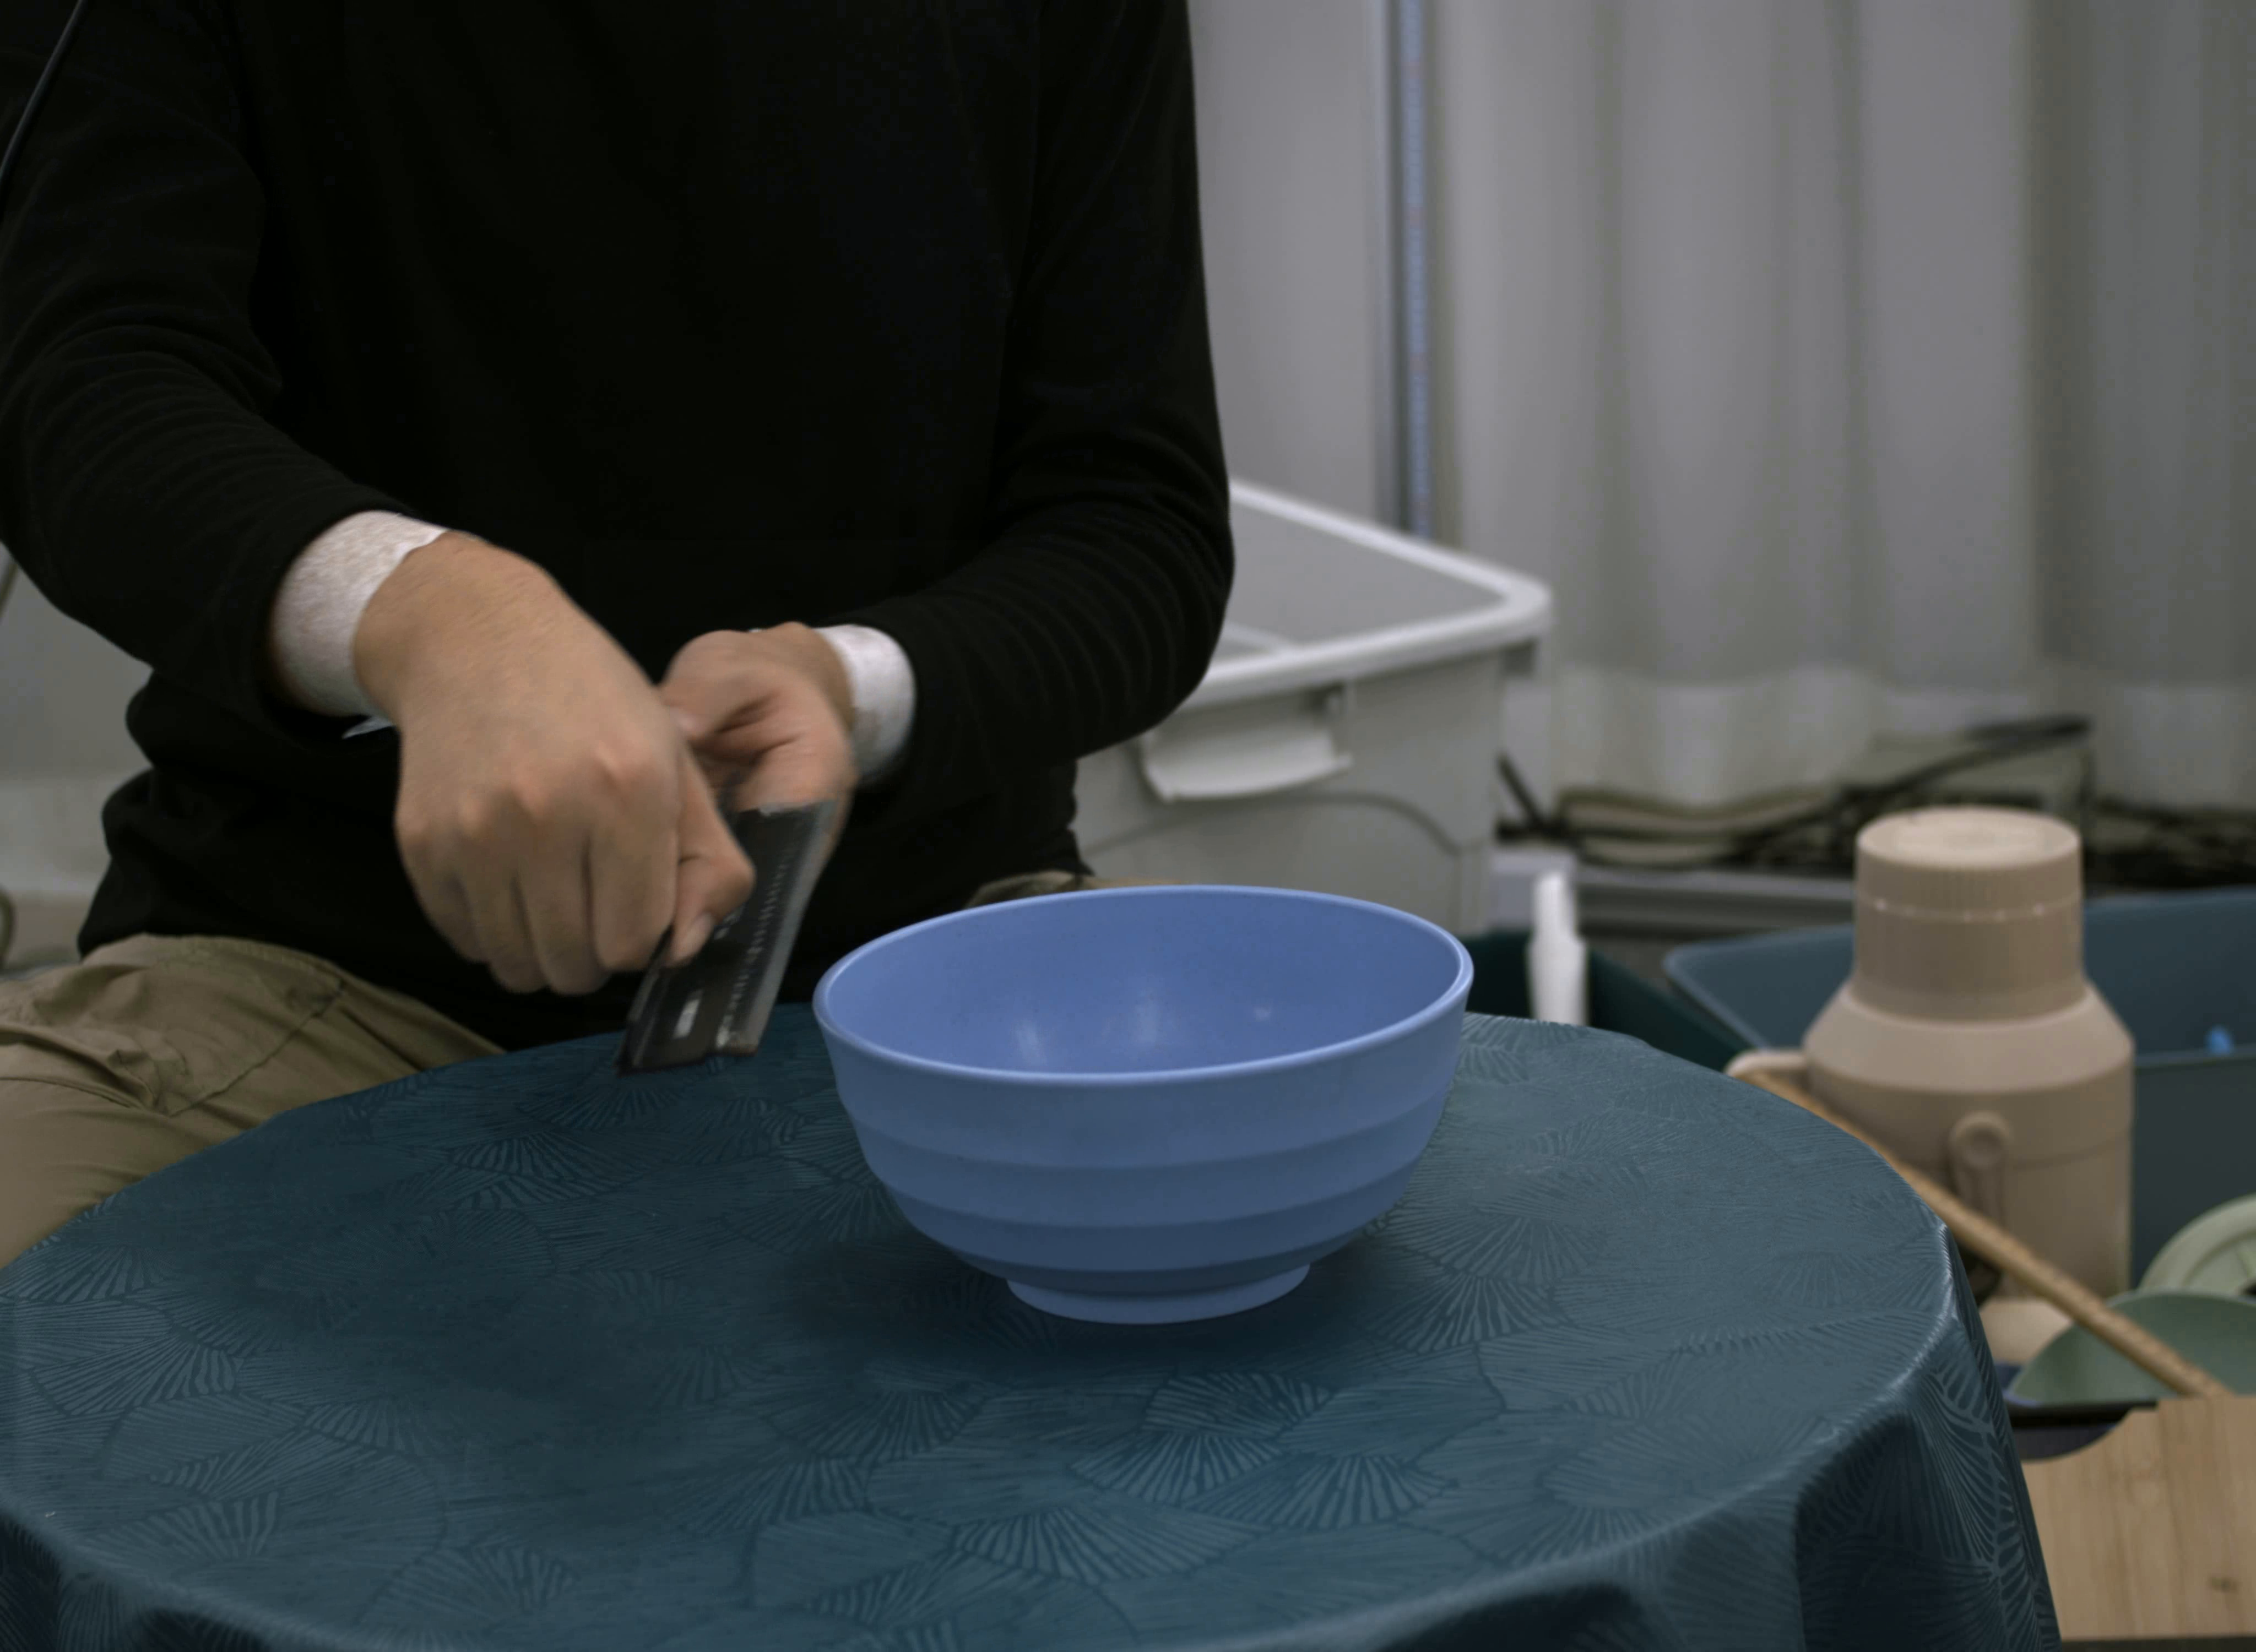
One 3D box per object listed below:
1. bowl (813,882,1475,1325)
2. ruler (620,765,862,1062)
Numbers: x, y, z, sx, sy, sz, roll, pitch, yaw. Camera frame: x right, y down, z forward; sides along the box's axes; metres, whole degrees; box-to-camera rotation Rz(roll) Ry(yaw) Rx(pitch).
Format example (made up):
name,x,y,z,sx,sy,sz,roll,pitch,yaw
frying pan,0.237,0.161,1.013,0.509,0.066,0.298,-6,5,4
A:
name,x,y,z,sx,sy,sz,roll,pitch,yaw
bowl,0.006,0.088,1.627,0.196,0.095,0.198,-2,15,0
ruler,-0.109,0.020,1.583,0.039,0.017,0.314,-4,12,3
